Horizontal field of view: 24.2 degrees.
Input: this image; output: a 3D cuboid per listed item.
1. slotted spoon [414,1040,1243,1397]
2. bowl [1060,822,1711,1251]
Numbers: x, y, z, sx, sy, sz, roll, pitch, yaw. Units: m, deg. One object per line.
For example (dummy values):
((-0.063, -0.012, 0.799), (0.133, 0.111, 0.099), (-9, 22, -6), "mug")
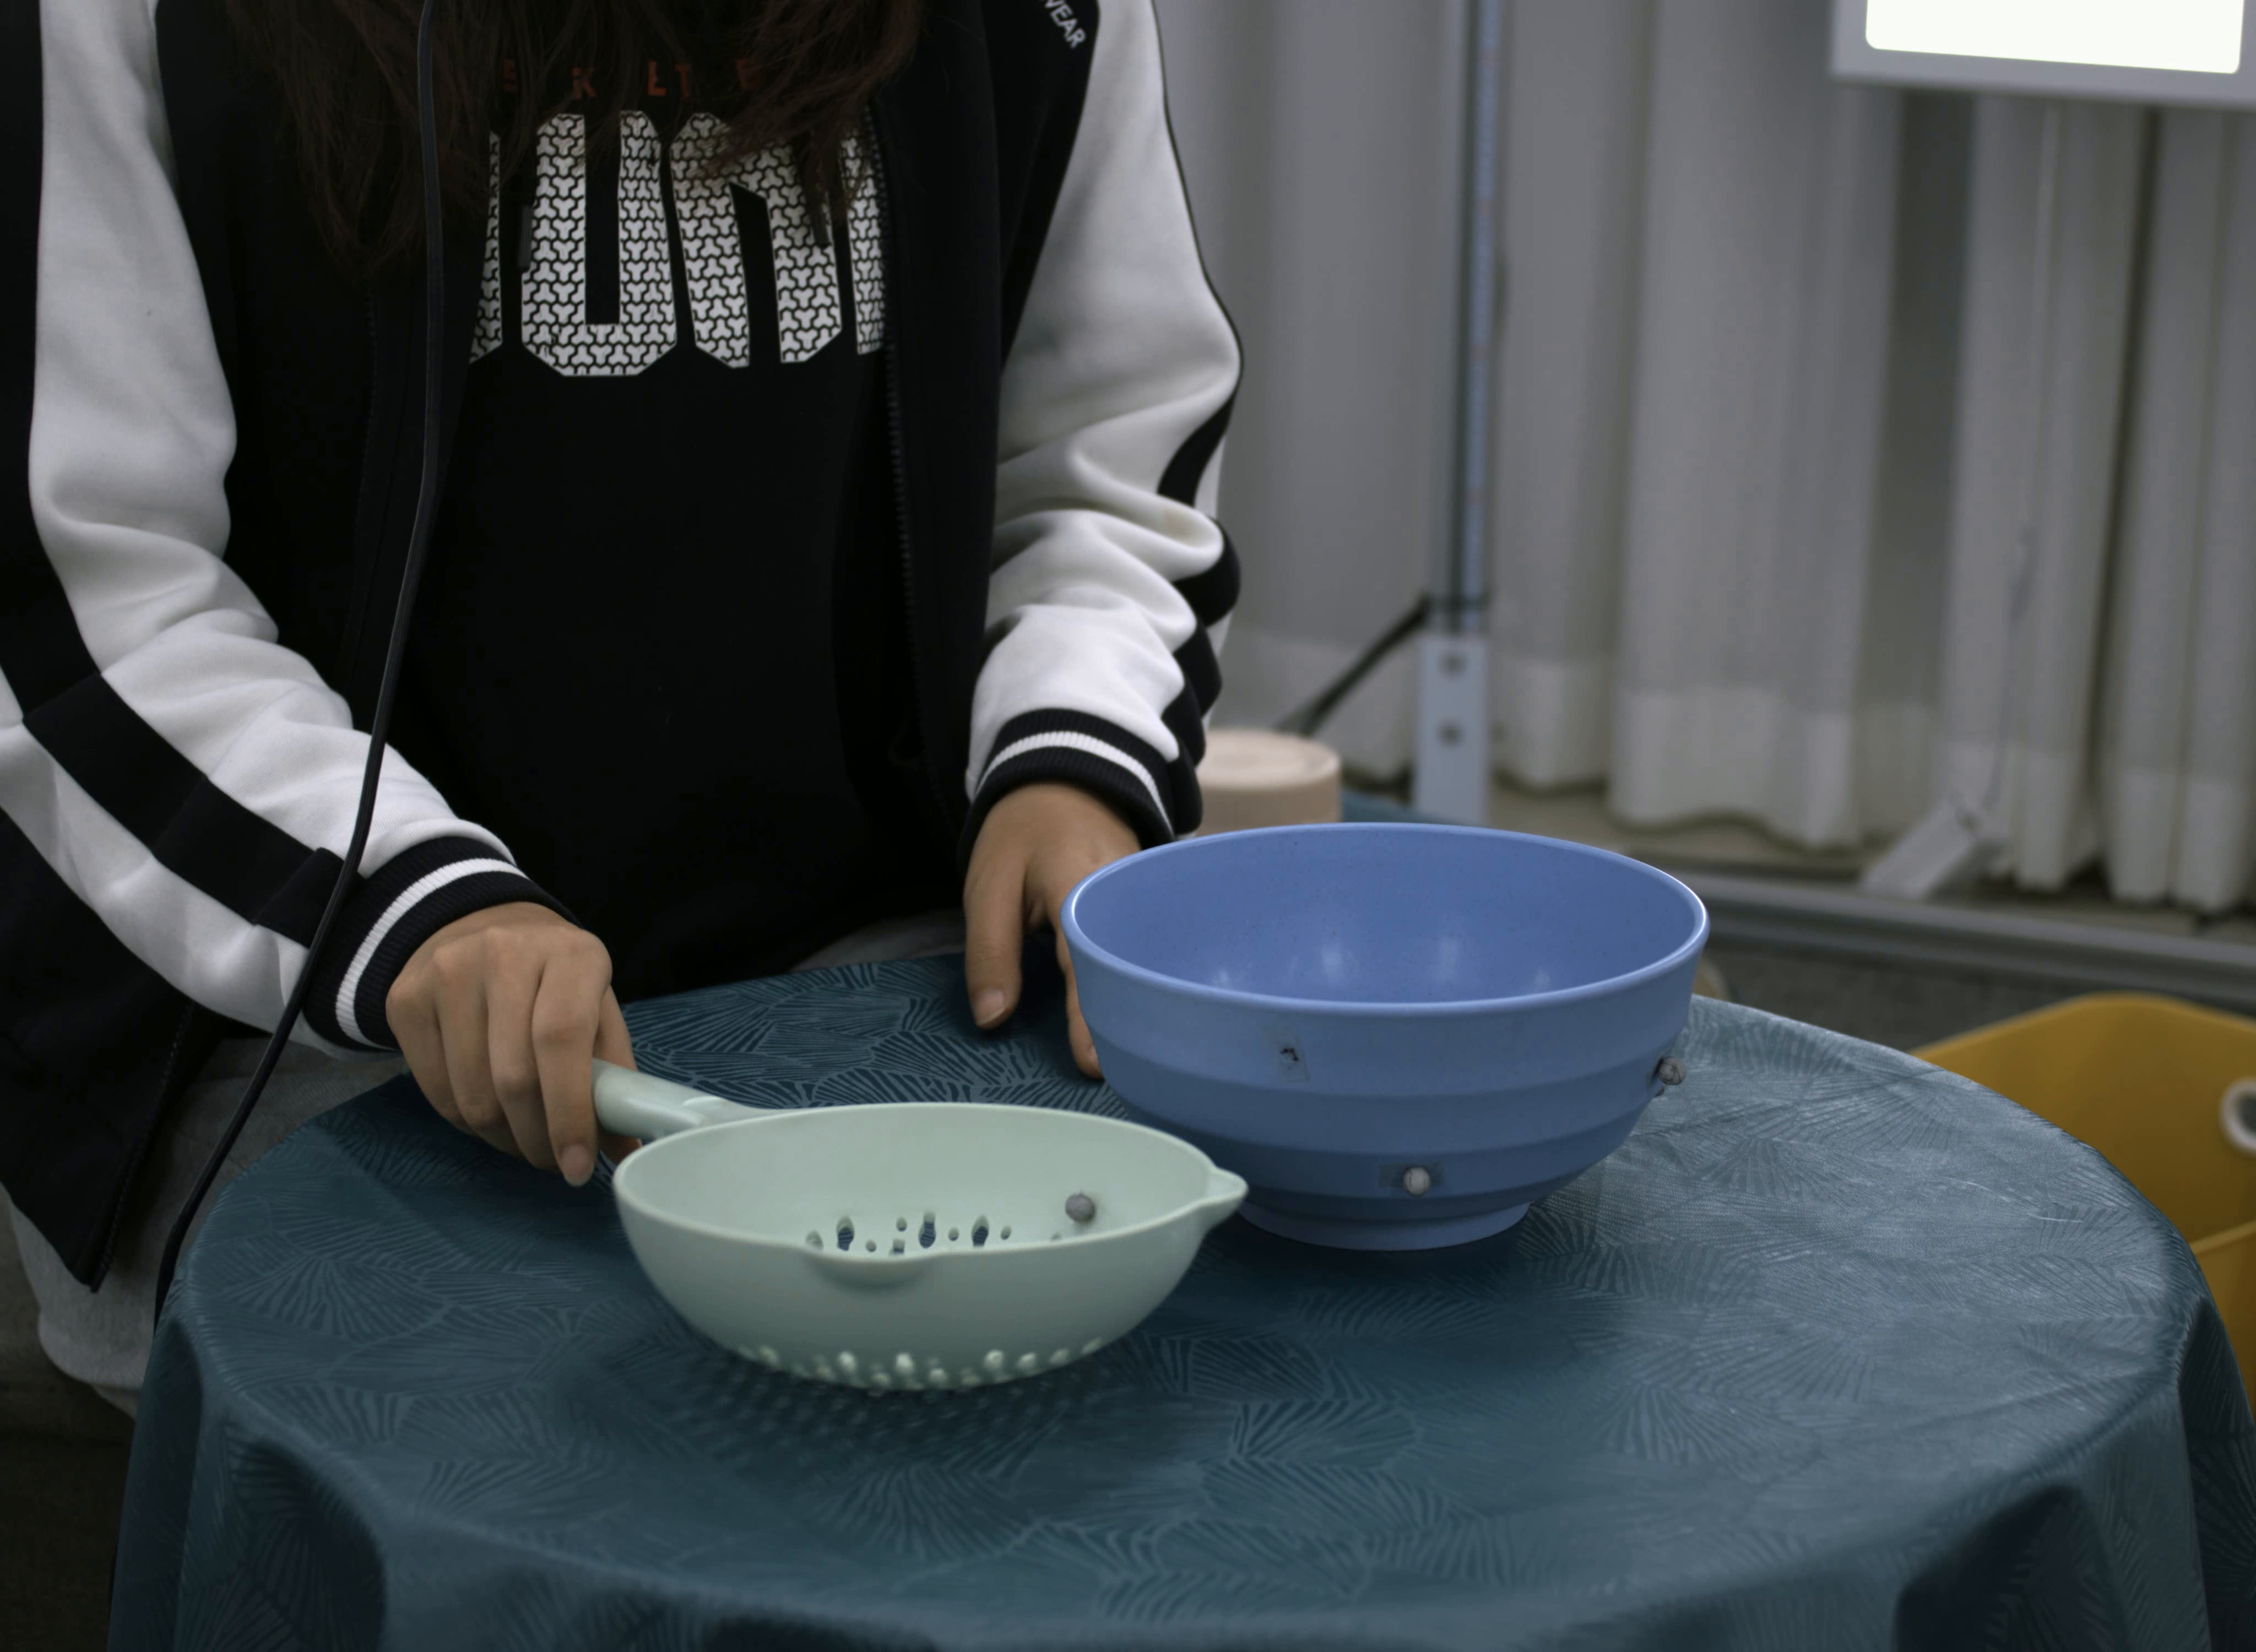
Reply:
((-0.118, 0.098, 1.540), (0.170, 0.076, 0.354), (-9, 20, -36), "slotted spoon")
((0.077, 0.069, 1.600), (0.196, 0.096, 0.195), (0, 16, 0), "bowl")
